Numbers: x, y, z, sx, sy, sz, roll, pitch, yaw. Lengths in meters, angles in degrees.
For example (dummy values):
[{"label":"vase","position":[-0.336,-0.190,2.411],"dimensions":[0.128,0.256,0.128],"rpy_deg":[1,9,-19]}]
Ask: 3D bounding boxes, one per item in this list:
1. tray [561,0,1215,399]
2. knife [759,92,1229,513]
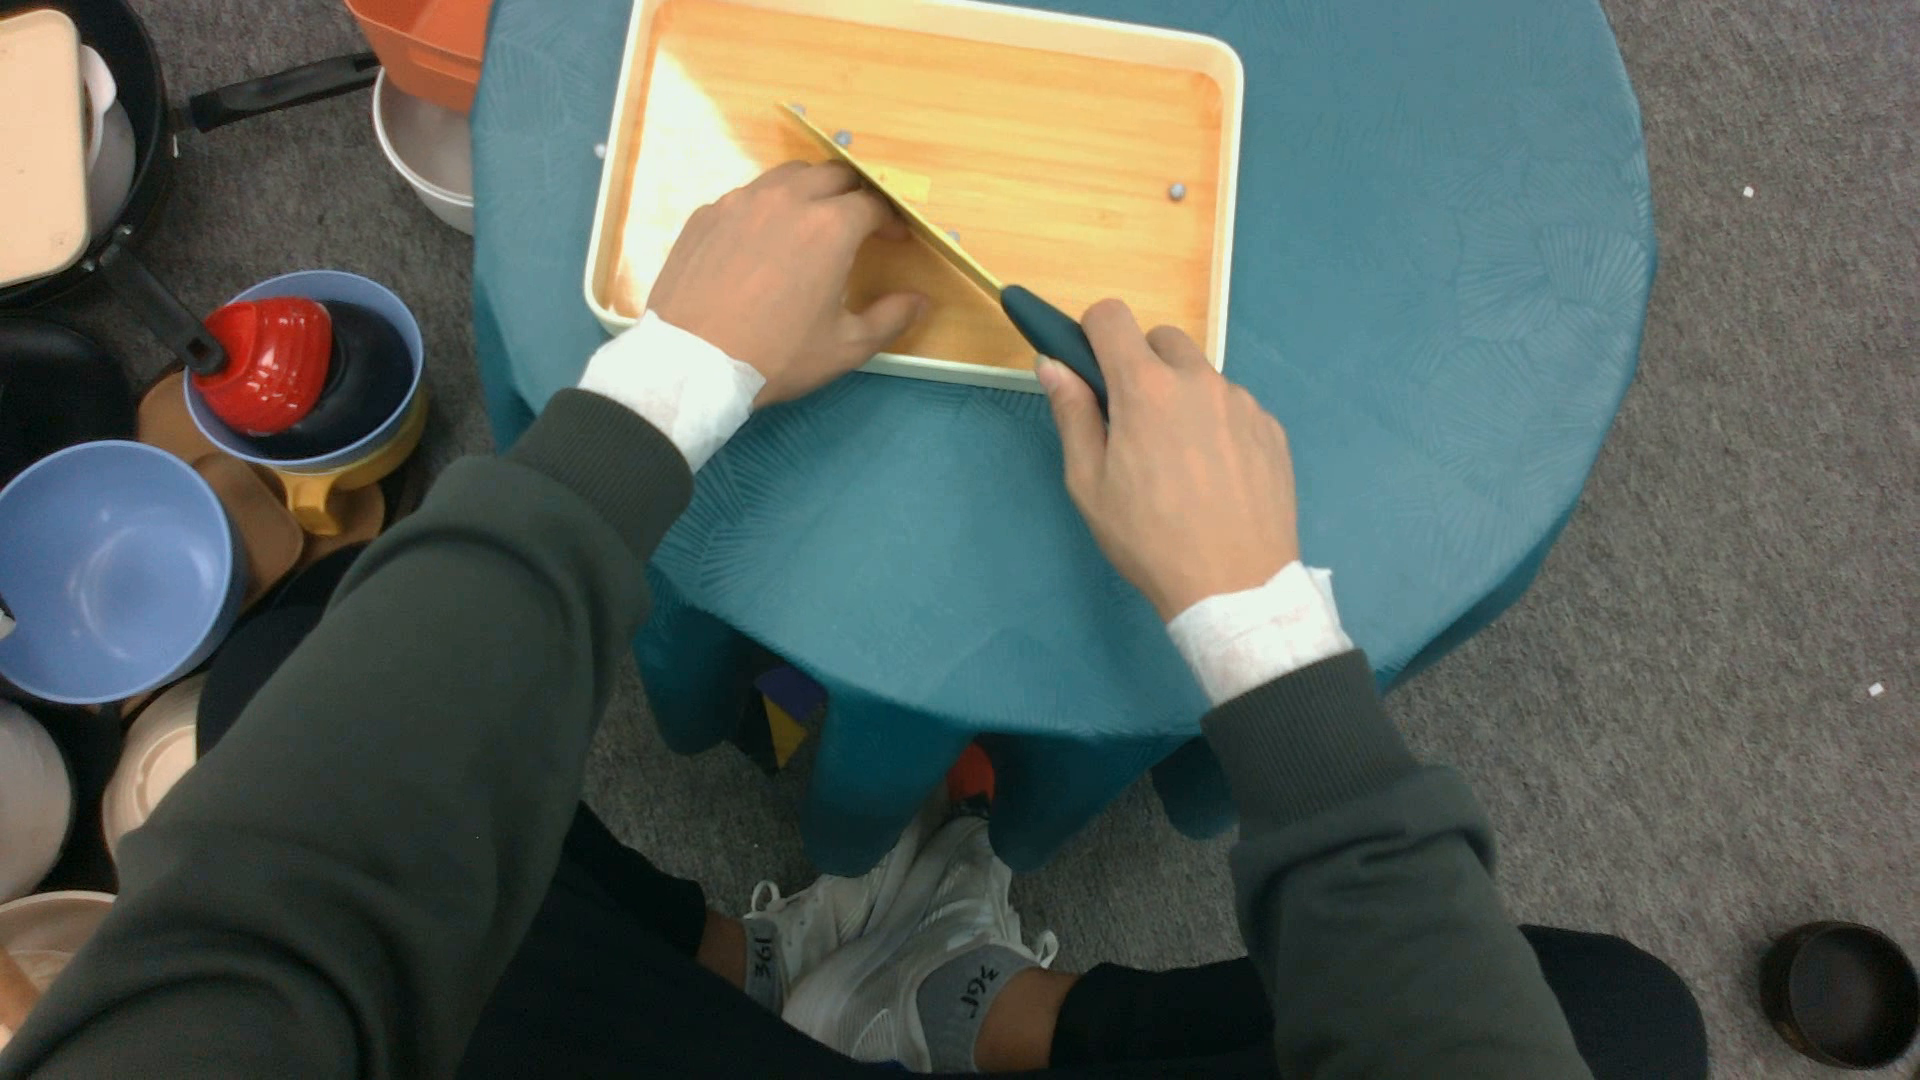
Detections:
[{"label":"tray","position":[-0.029,-0.176,0.670],"dimensions":[0.300,0.027,0.192],"rpy_deg":[6,77,-4]},{"label":"knife","position":[0.009,-0.113,0.623],"dimensions":[0.289,0.081,0.027],"rpy_deg":[43,97,11]}]
